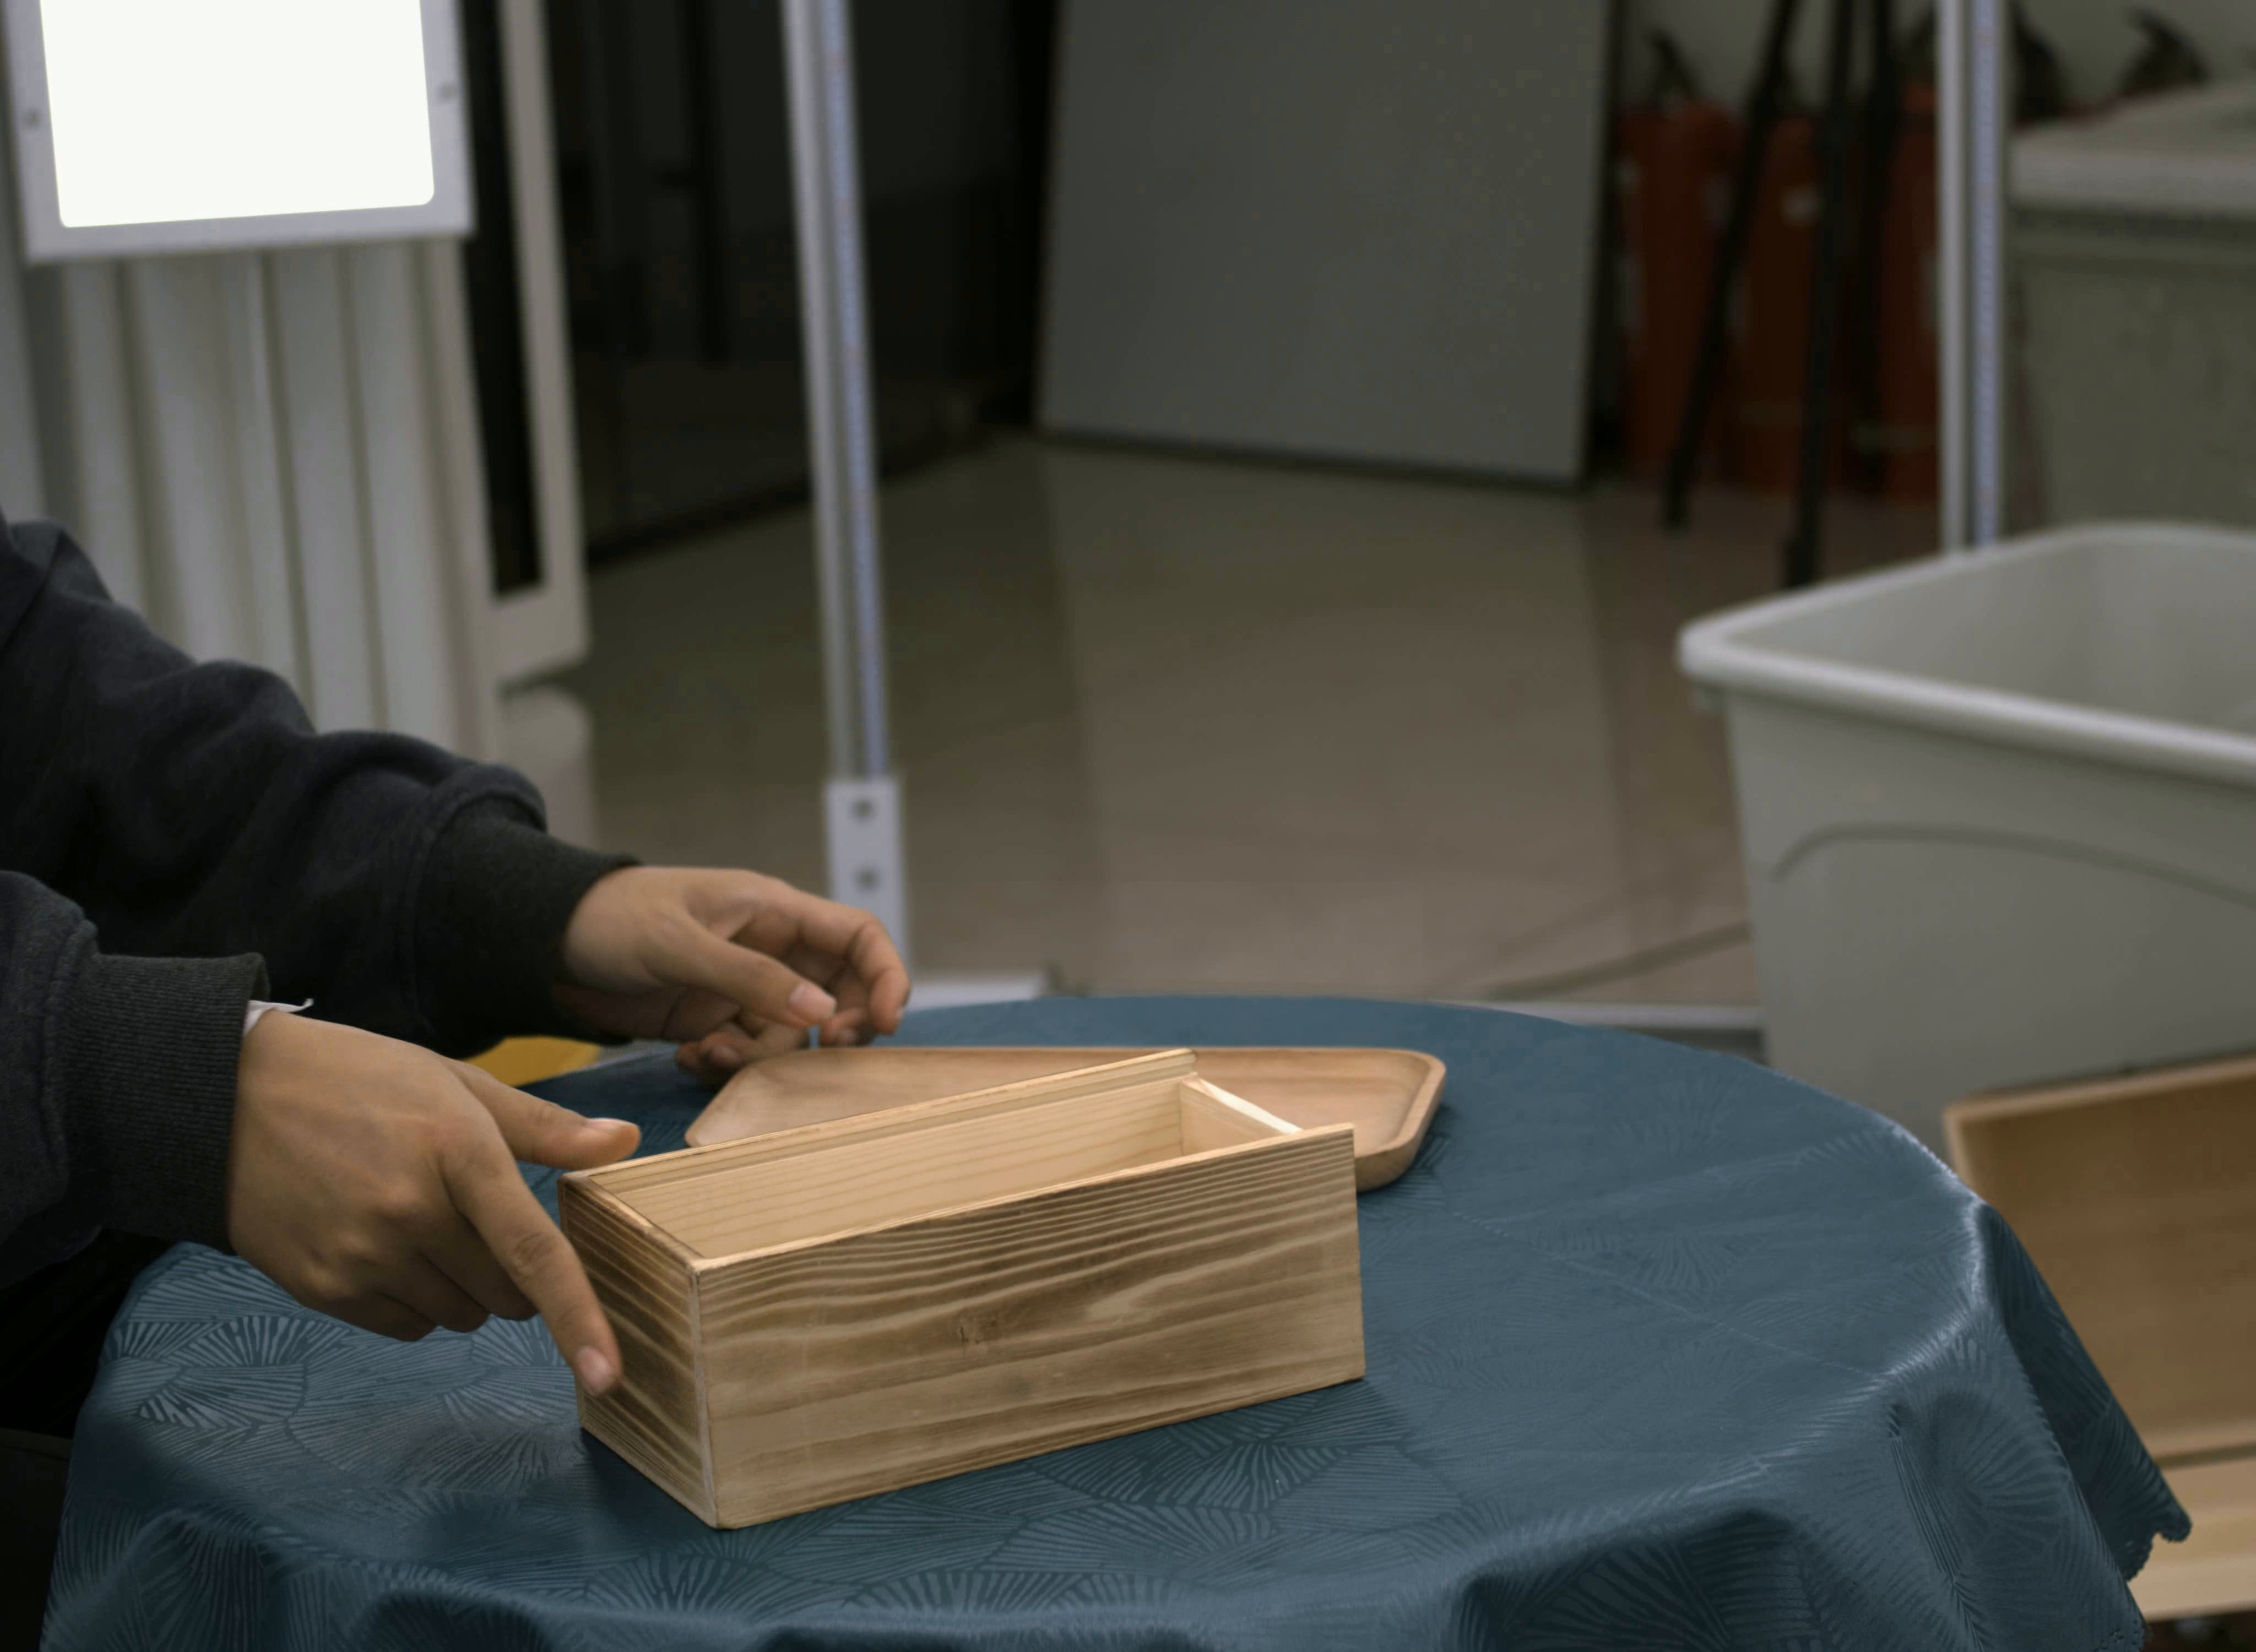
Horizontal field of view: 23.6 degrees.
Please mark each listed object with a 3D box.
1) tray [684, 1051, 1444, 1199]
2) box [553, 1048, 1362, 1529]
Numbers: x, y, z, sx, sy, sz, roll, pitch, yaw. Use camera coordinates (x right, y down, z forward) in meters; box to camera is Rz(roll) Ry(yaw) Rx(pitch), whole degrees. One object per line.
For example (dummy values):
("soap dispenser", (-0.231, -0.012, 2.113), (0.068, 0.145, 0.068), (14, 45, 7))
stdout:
("tray", (-0.020, 0.101, 1.822), (0.249, 0.023, 0.130), (-1, 11, 14))
("box", (-0.049, 0.131, 1.573), (0.207, 0.081, 0.108), (-10, 15, -25))
